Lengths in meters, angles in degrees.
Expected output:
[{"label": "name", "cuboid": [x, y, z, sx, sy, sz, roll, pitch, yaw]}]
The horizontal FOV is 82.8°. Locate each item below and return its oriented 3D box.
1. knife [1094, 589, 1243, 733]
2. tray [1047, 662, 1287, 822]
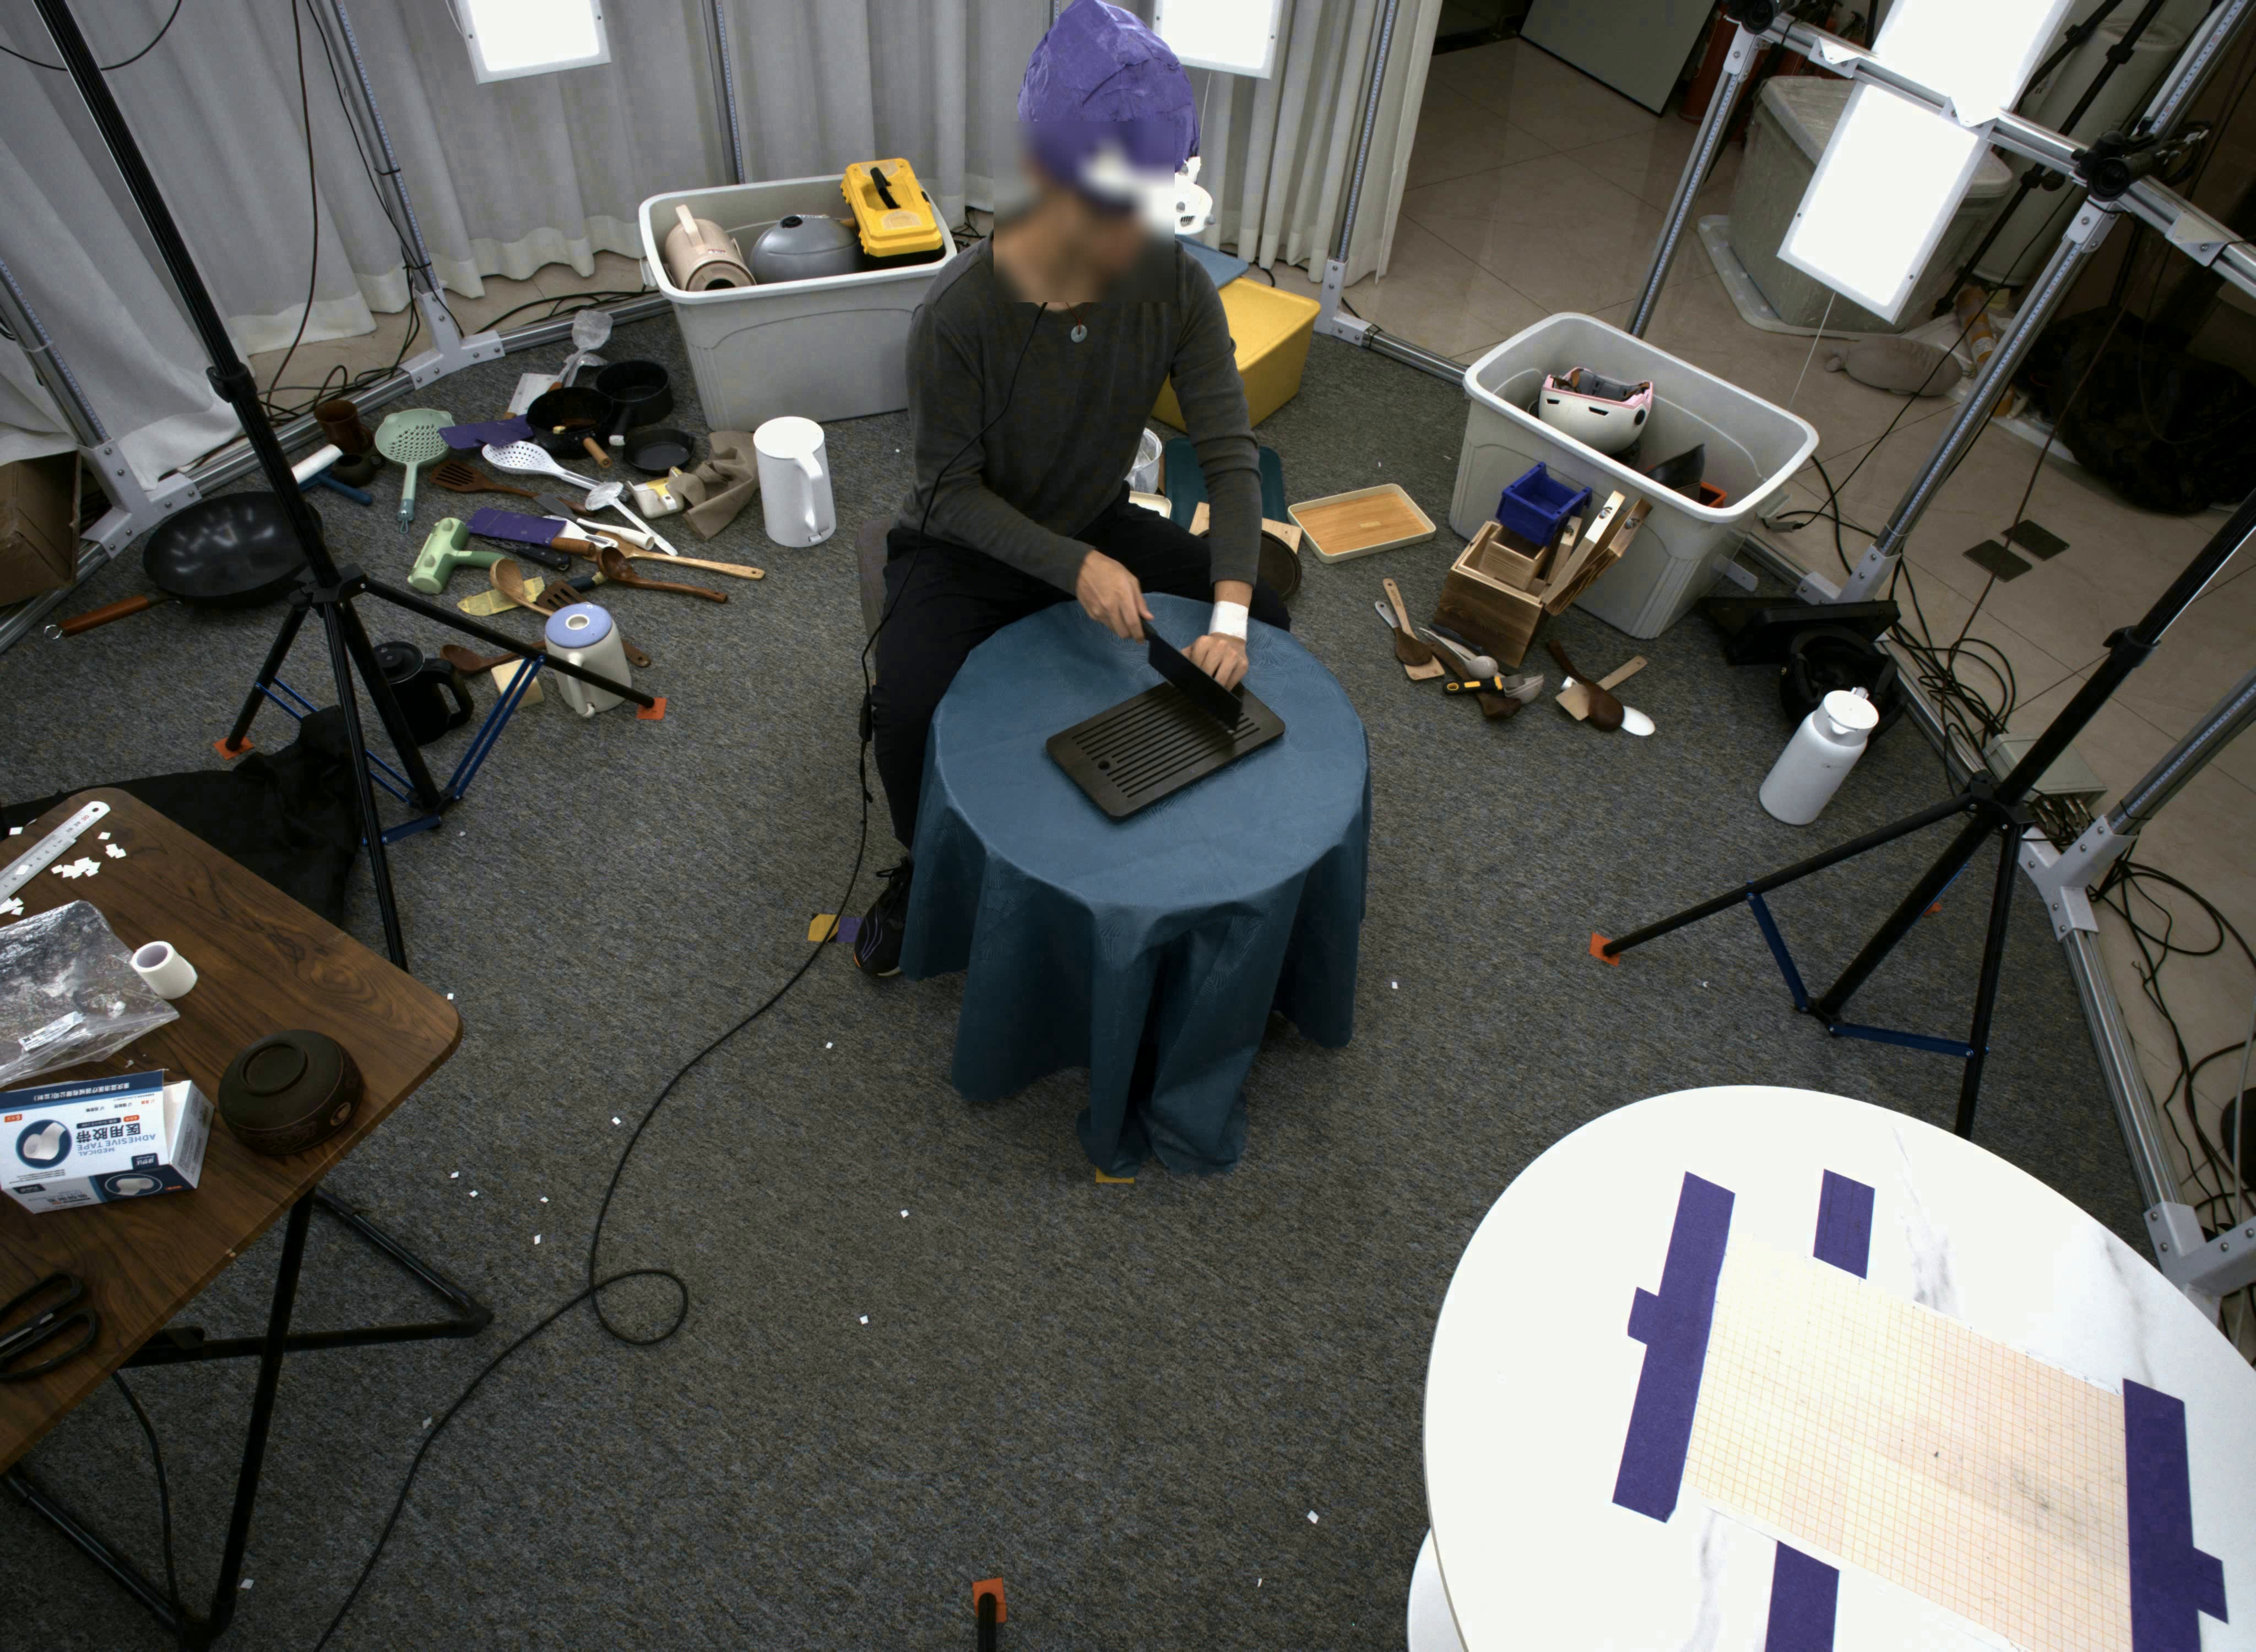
[{"label": "knife", "cuboid": [0.055, -0.237, 1.802, 0.021, 0.079, 0.307, -31, 63, -28]}, {"label": "tray", "cuboid": [0.056, -0.119, 1.762, 0.307, 0.018, 0.173, -28, 55, -25]}]
